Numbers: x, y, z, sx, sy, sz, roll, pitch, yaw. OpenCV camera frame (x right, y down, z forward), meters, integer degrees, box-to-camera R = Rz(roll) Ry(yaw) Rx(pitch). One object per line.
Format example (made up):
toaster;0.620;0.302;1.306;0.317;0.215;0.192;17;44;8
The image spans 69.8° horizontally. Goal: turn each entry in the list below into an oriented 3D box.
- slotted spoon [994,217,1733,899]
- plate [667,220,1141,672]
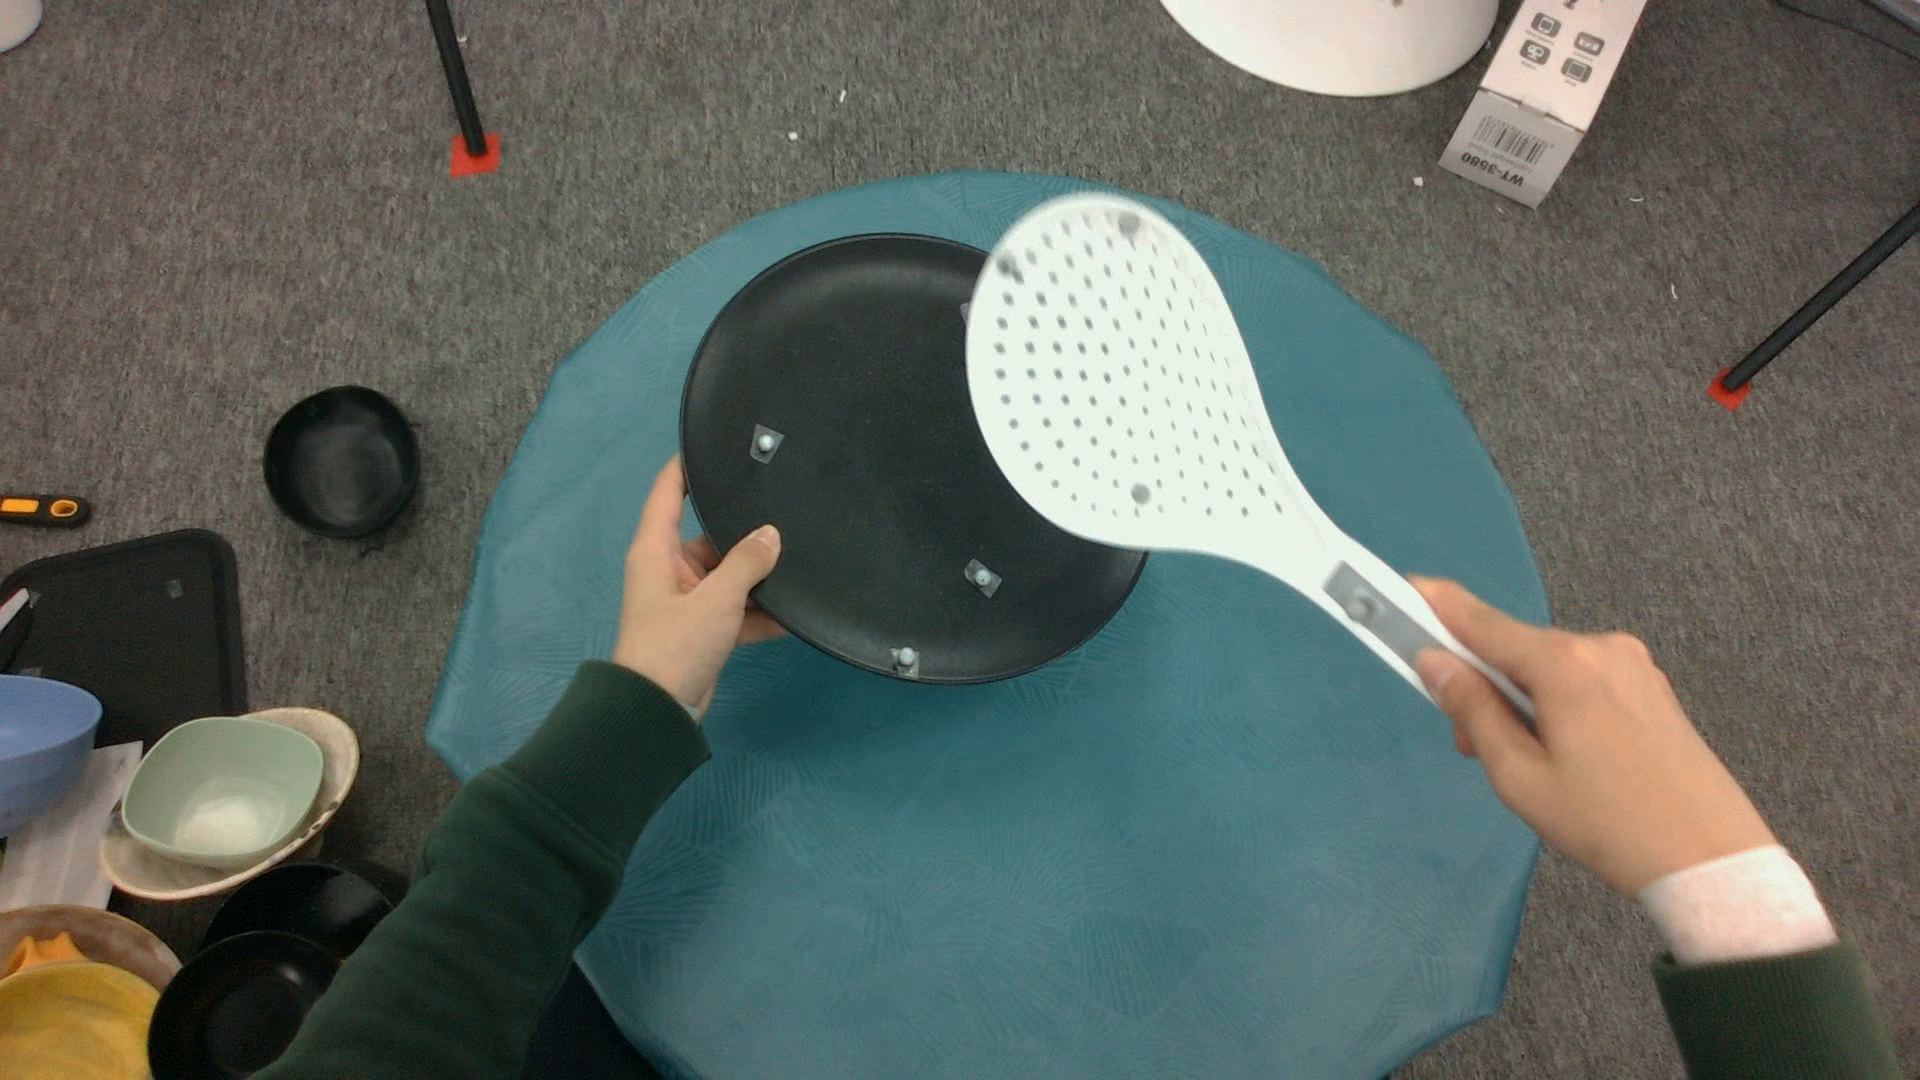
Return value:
slotted spoon;0.140;0.001;0.534;0.046;0.135;0.350;-14;50;-41
plate;-0.022;-0.050;0.681;0.244;0.023;0.245;7;66;-16
